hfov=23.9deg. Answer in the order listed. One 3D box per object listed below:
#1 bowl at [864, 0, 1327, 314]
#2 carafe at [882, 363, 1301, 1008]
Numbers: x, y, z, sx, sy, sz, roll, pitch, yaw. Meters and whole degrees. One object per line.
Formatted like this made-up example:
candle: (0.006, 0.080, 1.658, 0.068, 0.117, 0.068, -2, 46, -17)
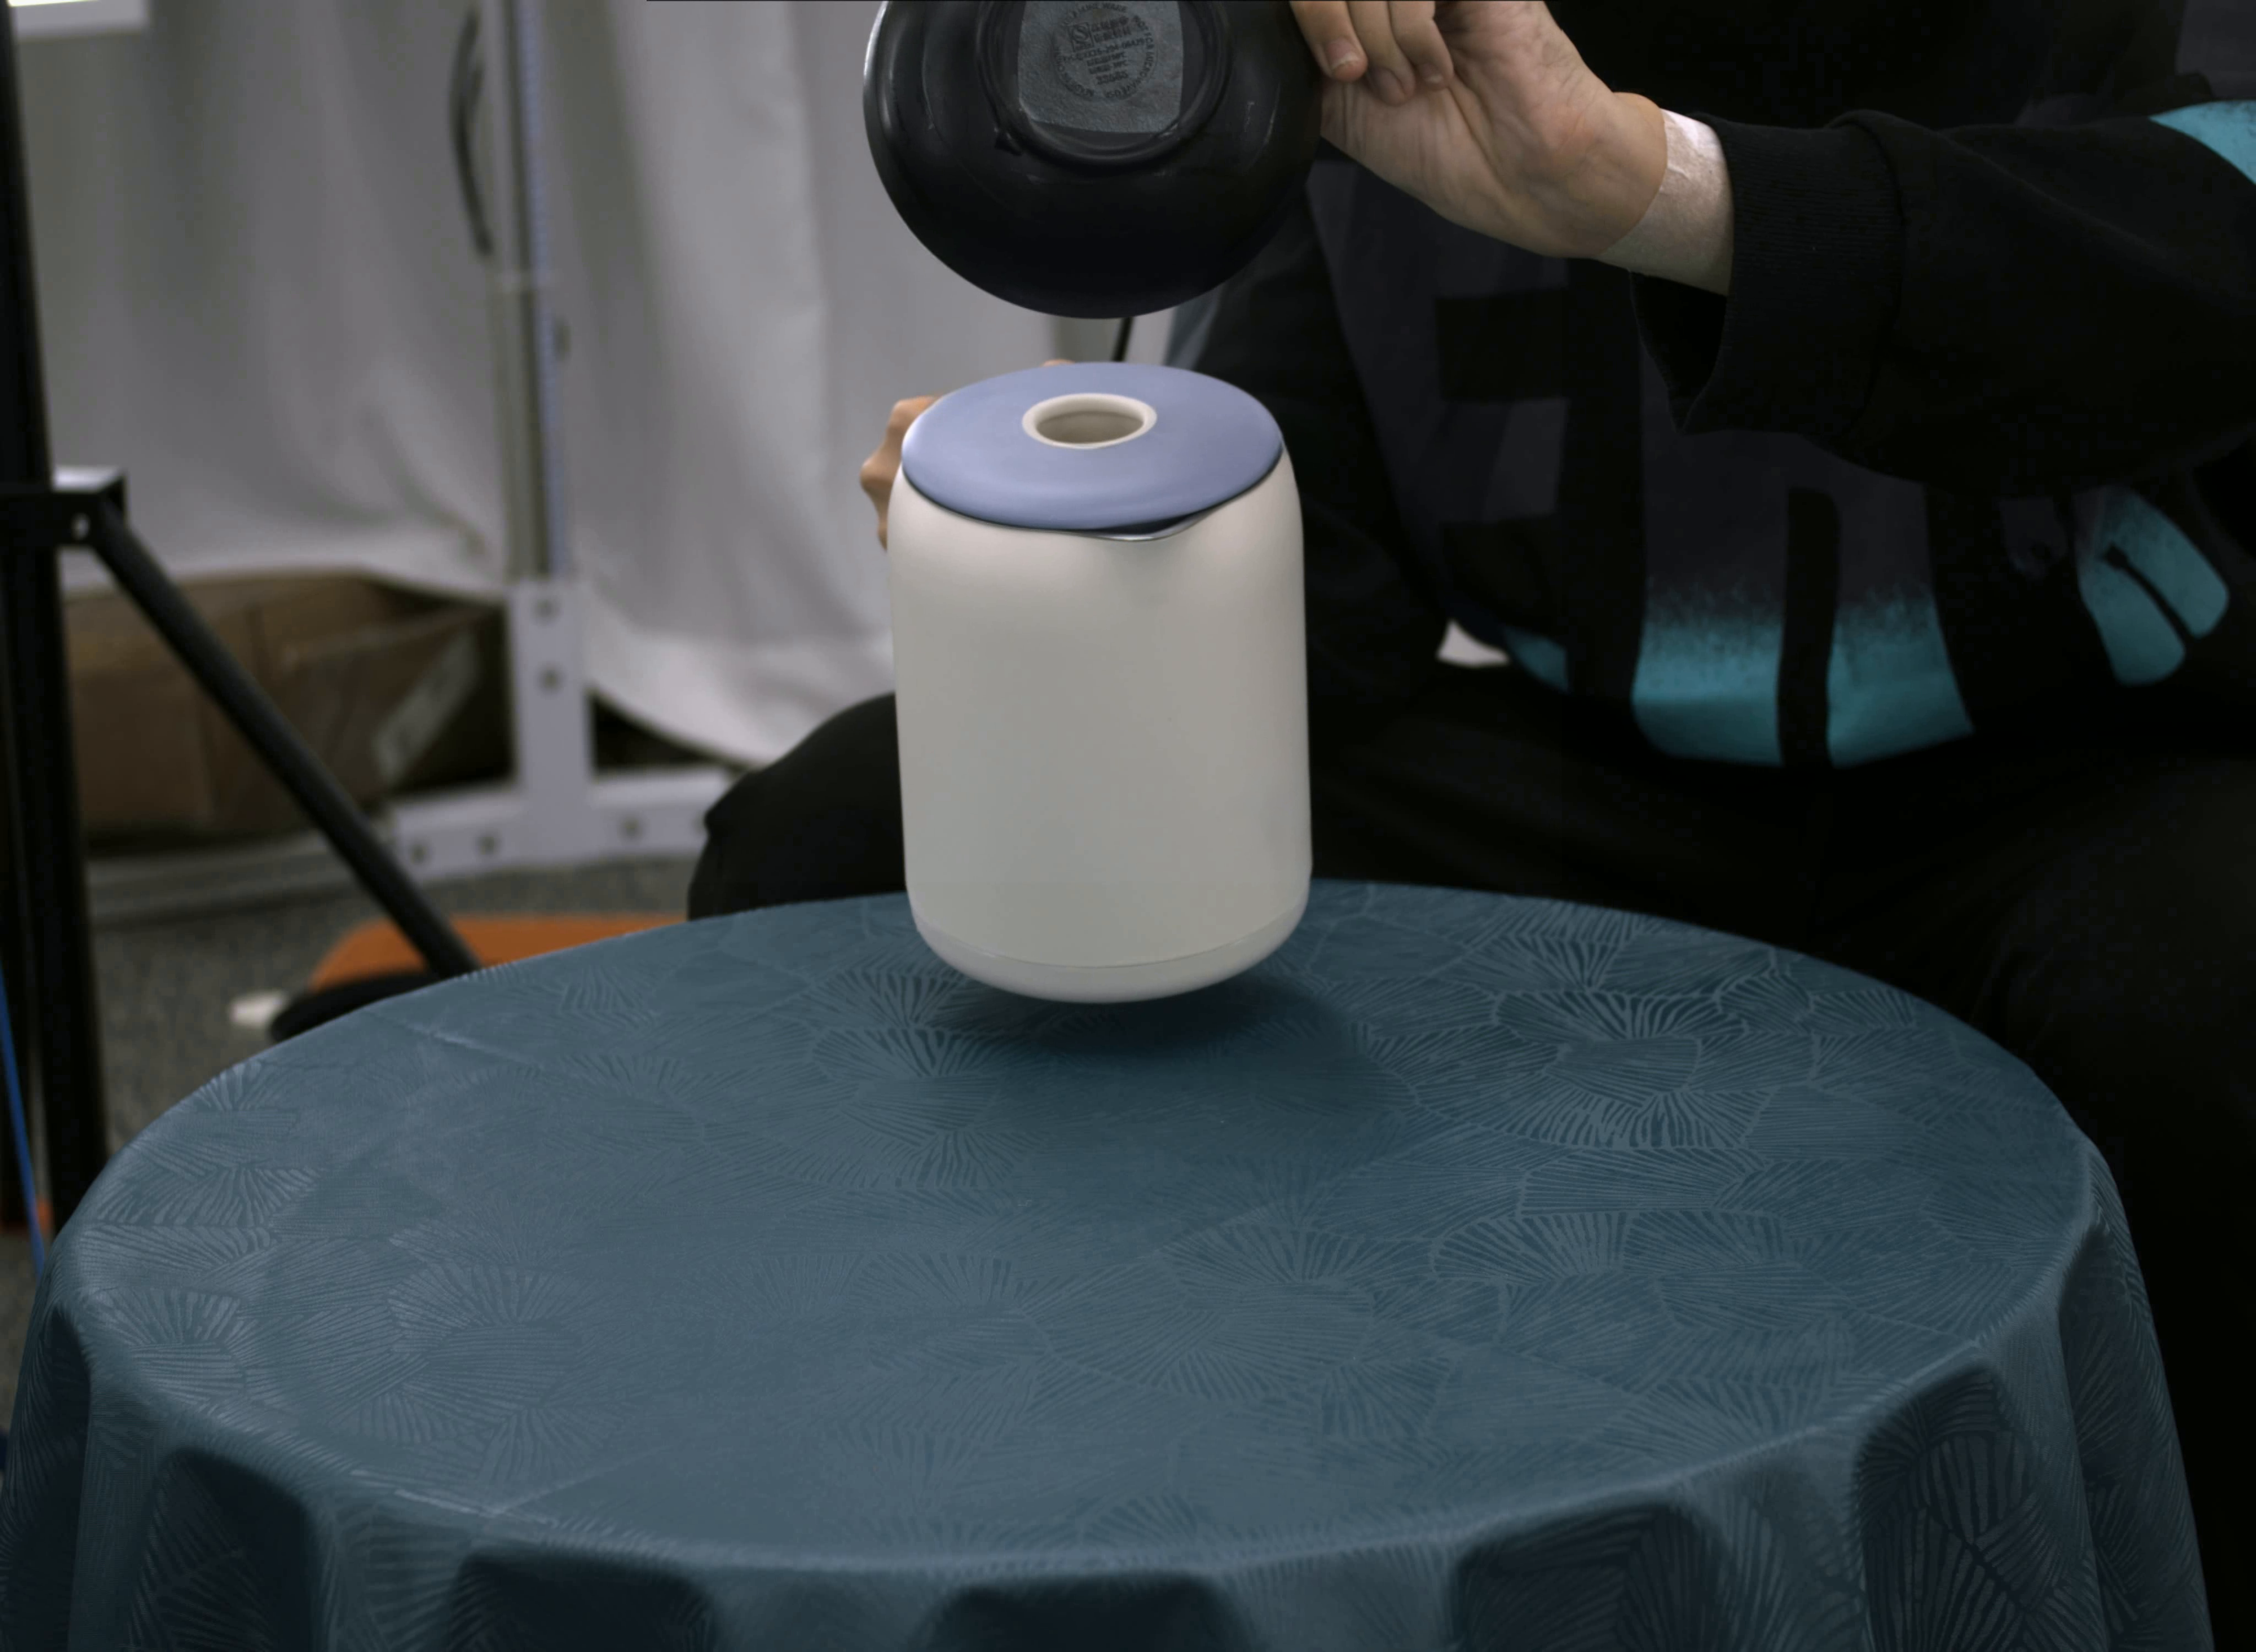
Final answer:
bowl: (-0.008, -0.224, 1.570, 0.139, 0.141, 0.049, -3, -11, -1)
carafe: (-0.019, -0.055, 1.710, 0.130, 0.182, 0.194, -9, 25, -16)
